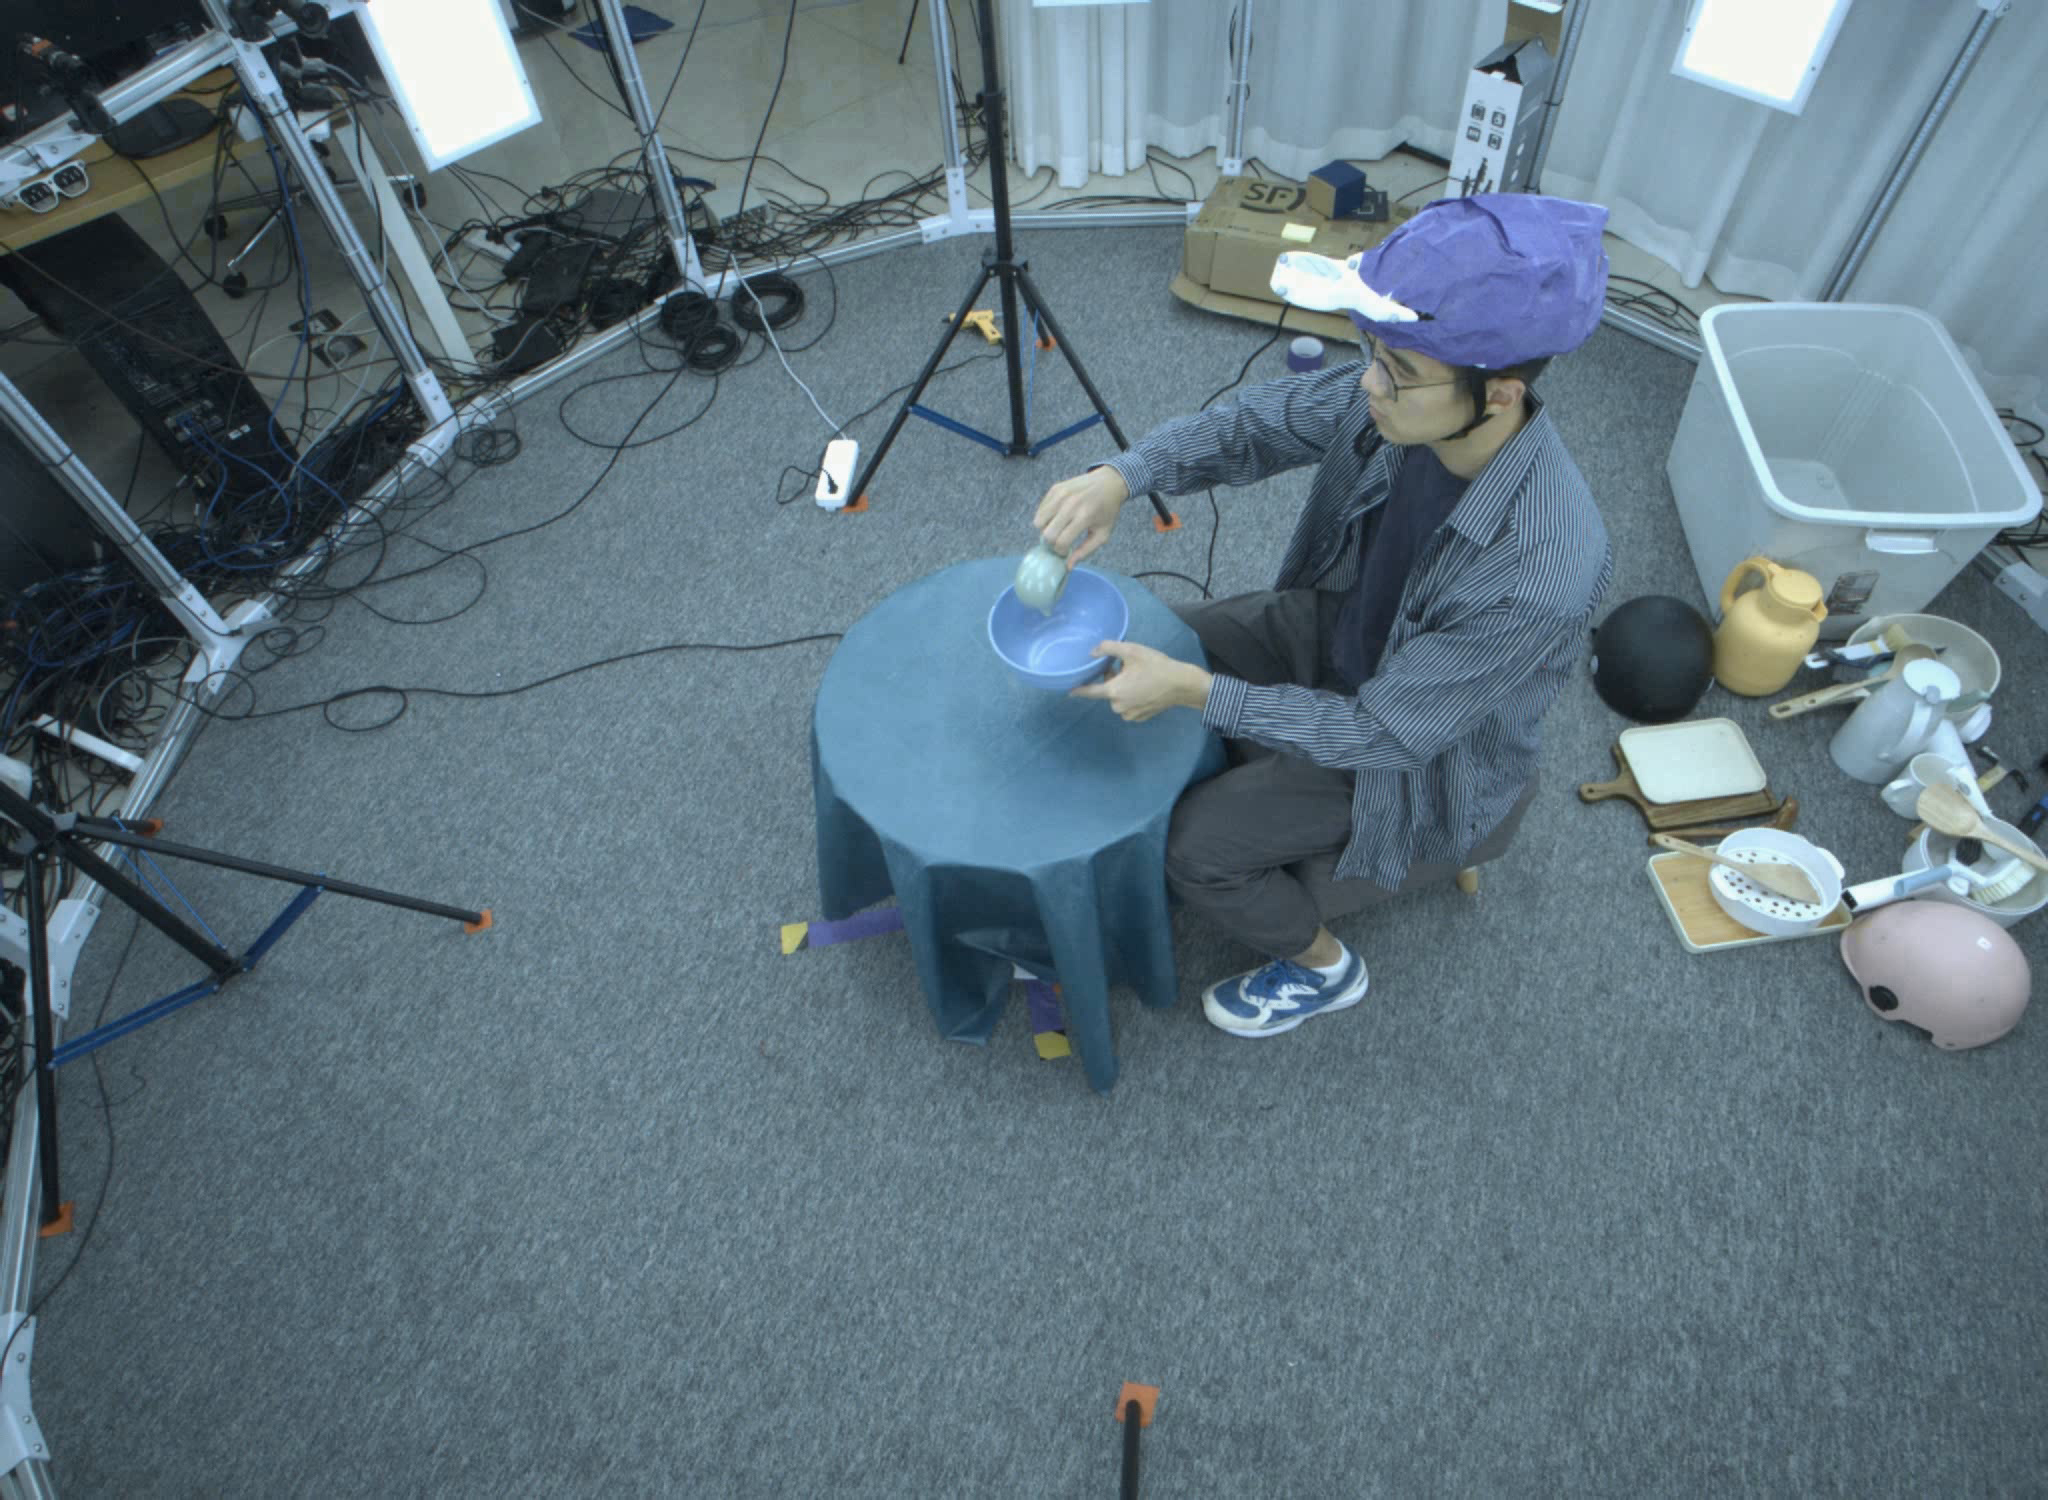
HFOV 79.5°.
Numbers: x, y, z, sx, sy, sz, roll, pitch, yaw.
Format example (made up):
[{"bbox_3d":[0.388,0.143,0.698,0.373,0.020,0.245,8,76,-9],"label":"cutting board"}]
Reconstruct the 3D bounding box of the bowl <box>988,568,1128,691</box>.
[{"bbox_3d":[0.052,-0.156,1.747,0.196,0.097,0.194,-3,56,6],"label":"bowl"}]

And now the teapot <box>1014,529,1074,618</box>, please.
[{"bbox_3d":[0.027,-0.244,1.673,0.060,0.128,0.092,27,34,6],"label":"teapot"}]
